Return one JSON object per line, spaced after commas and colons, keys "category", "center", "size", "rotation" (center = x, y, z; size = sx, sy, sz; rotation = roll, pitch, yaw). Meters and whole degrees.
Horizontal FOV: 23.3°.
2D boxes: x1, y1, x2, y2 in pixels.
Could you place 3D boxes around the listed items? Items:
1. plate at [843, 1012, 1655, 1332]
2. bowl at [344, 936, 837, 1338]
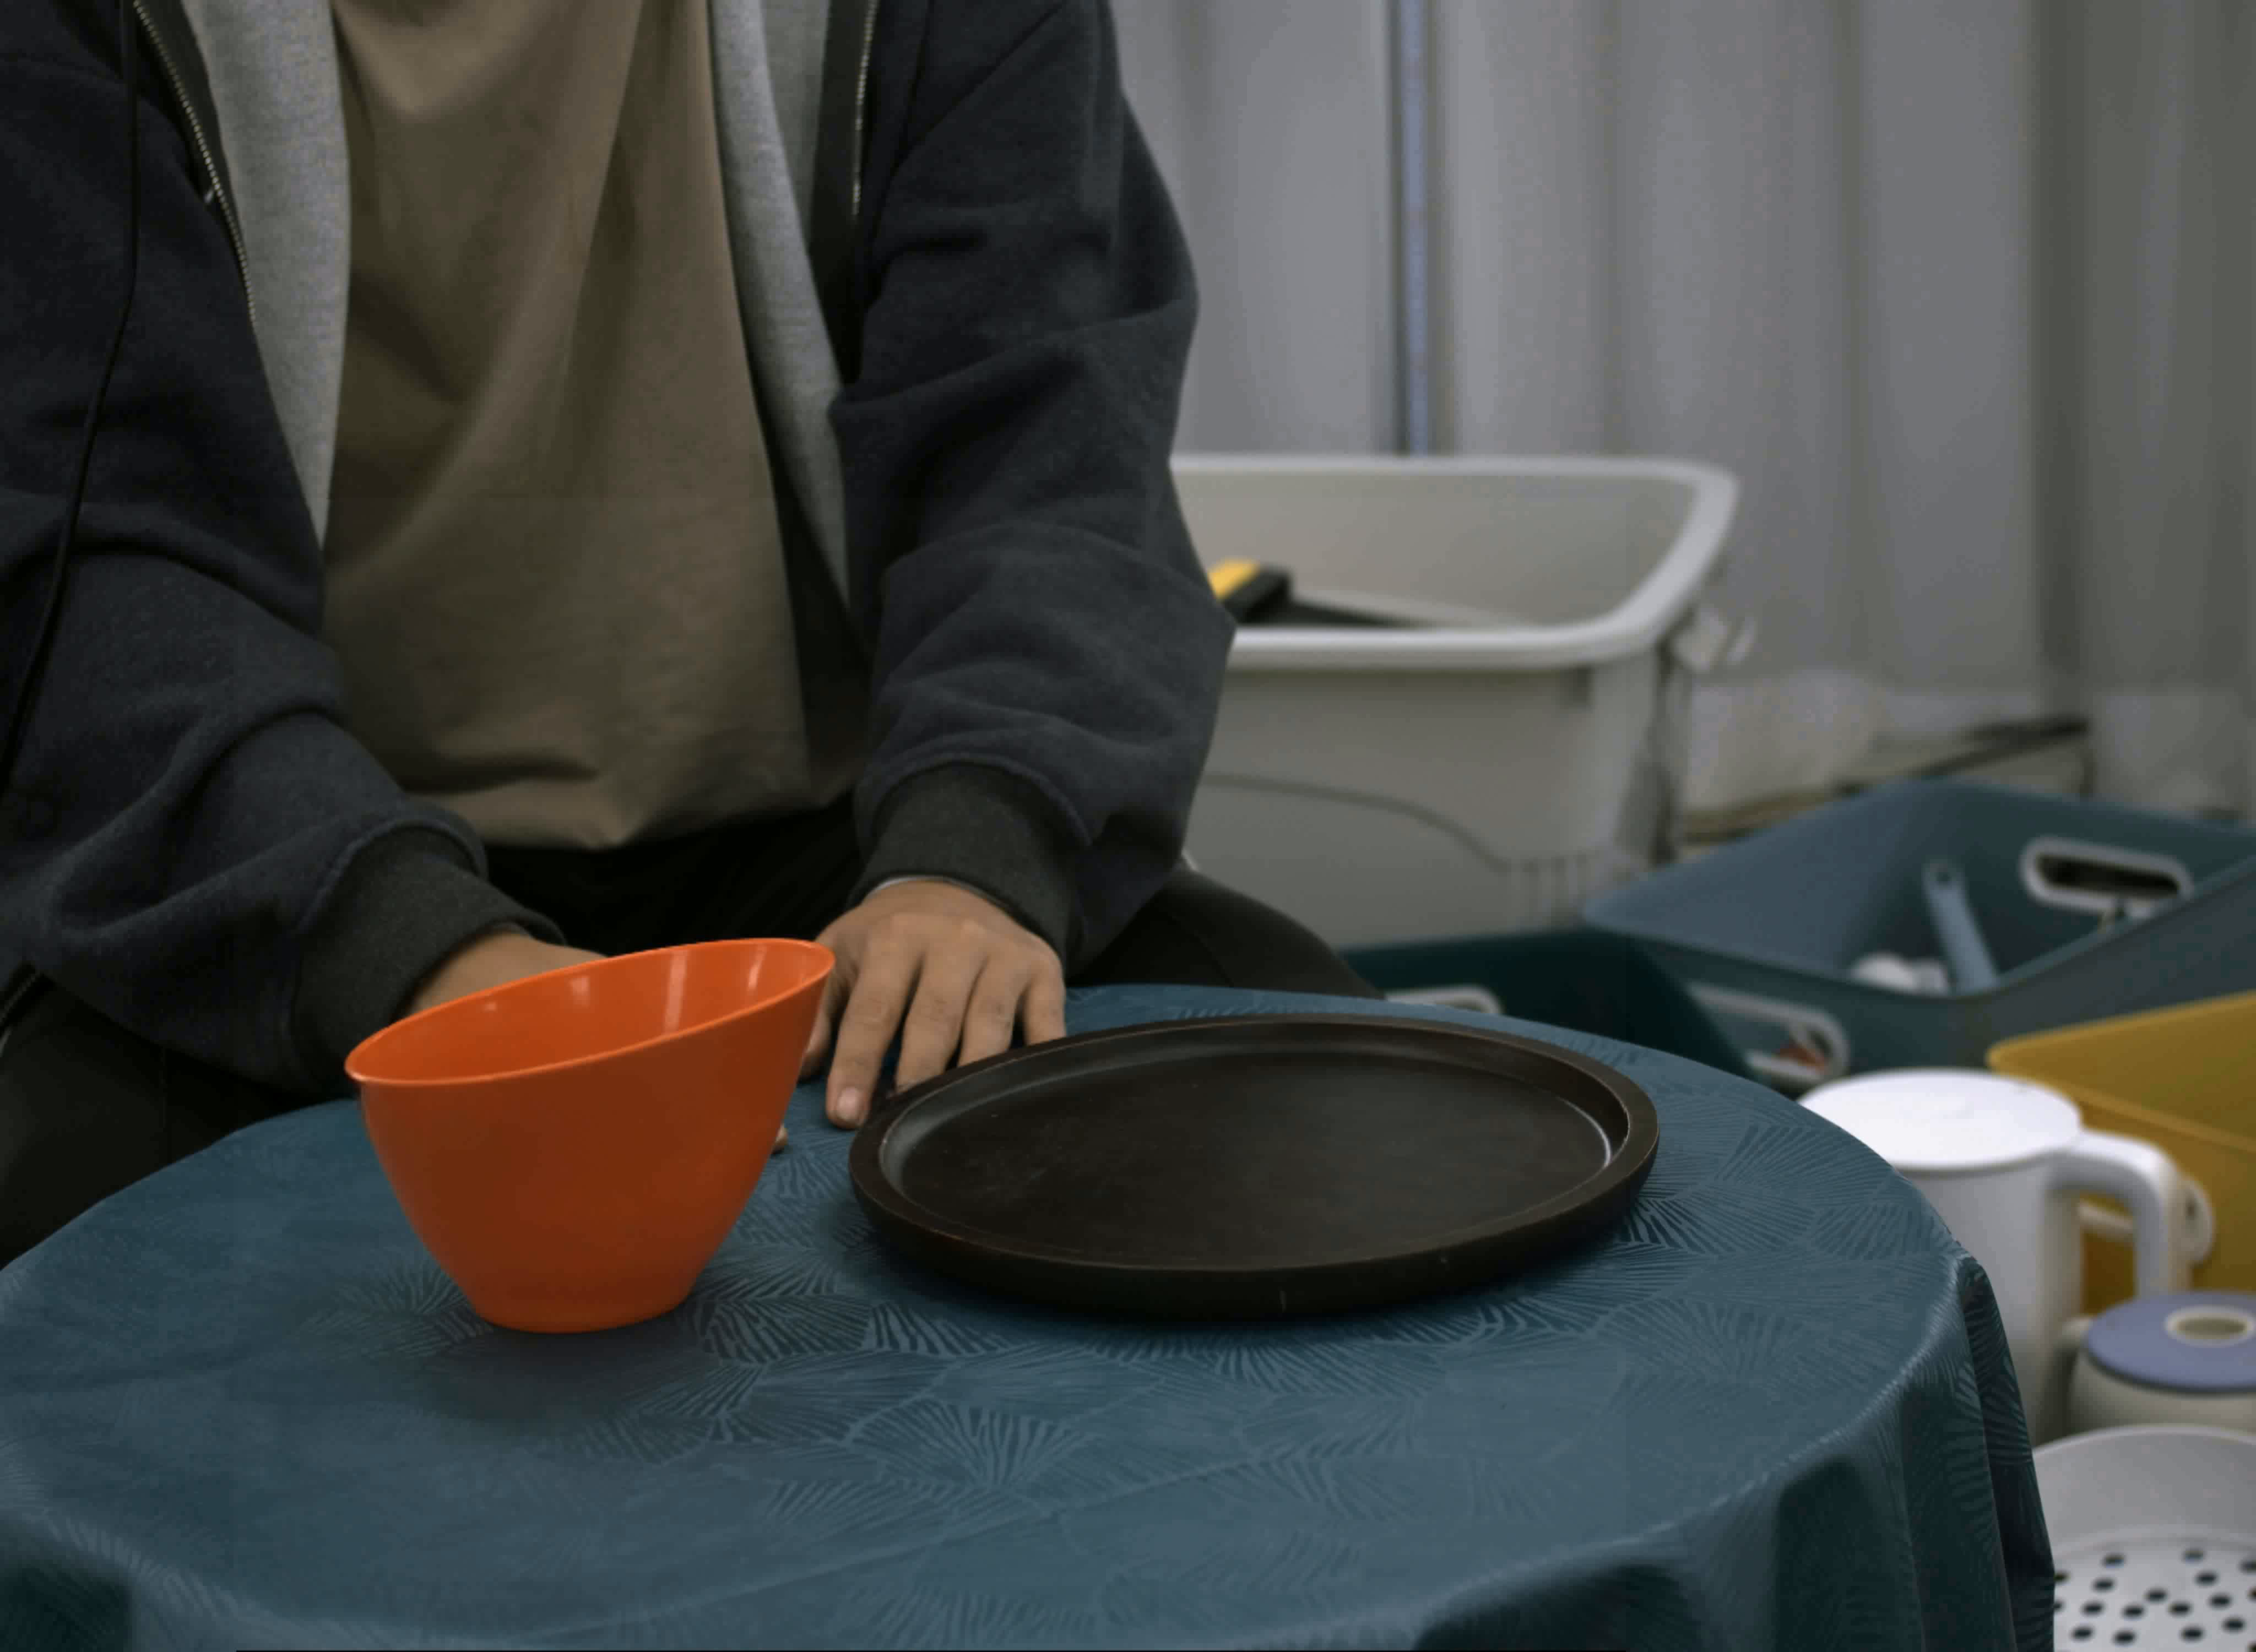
{"category": "plate", "center": [0.038, 0.105, 1.701], "size": [0.254, 0.029, 0.256], "rotation": [-4, 15, 1]}
{"category": "bowl", "center": [-0.157, 0.094, 1.629], "size": [0.147, 0.104, 0.149], "rotation": [-3, 16, 1]}
